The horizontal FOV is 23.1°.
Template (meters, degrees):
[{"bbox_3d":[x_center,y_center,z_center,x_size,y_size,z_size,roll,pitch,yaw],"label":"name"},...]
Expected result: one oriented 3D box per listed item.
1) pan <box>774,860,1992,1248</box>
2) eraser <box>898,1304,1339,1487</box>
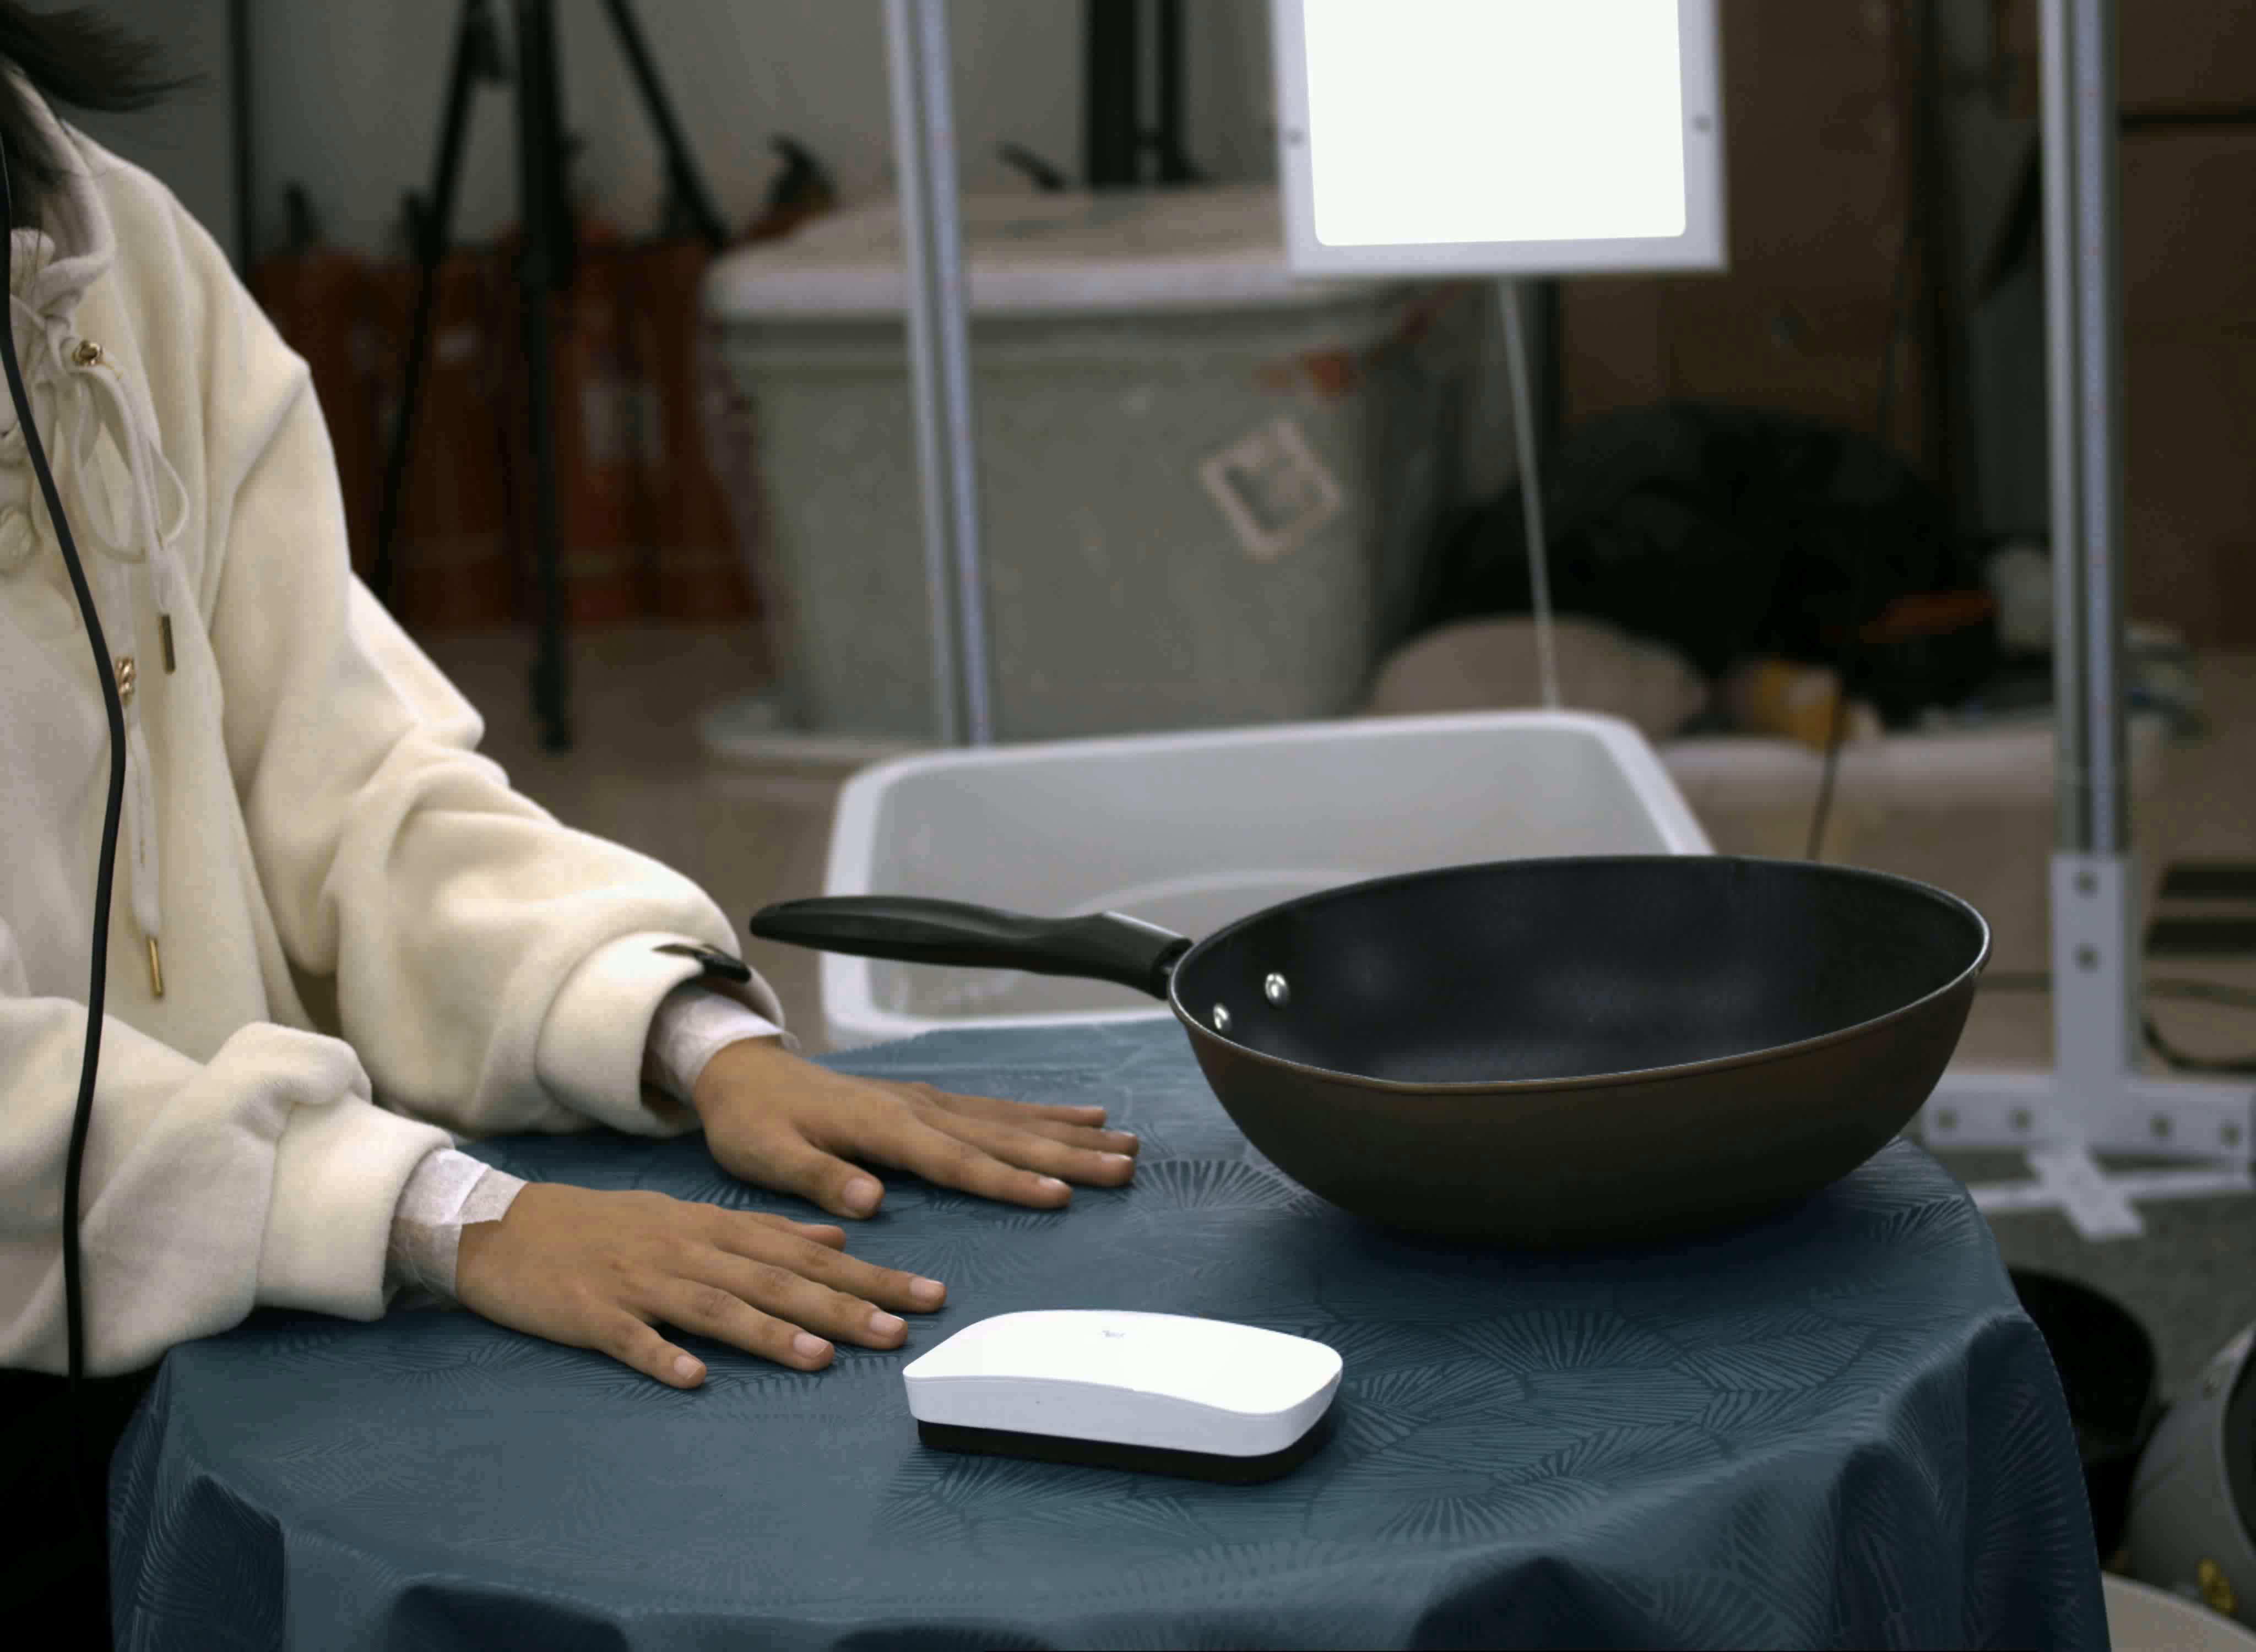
[{"bbox_3d":[0.075,0.077,1.899,0.472,0.087,0.281,2,15,31],"label":"pan"},{"bbox_3d":[-0.002,0.170,1.658,0.134,0.034,0.062,3,13,29],"label":"eraser"}]
